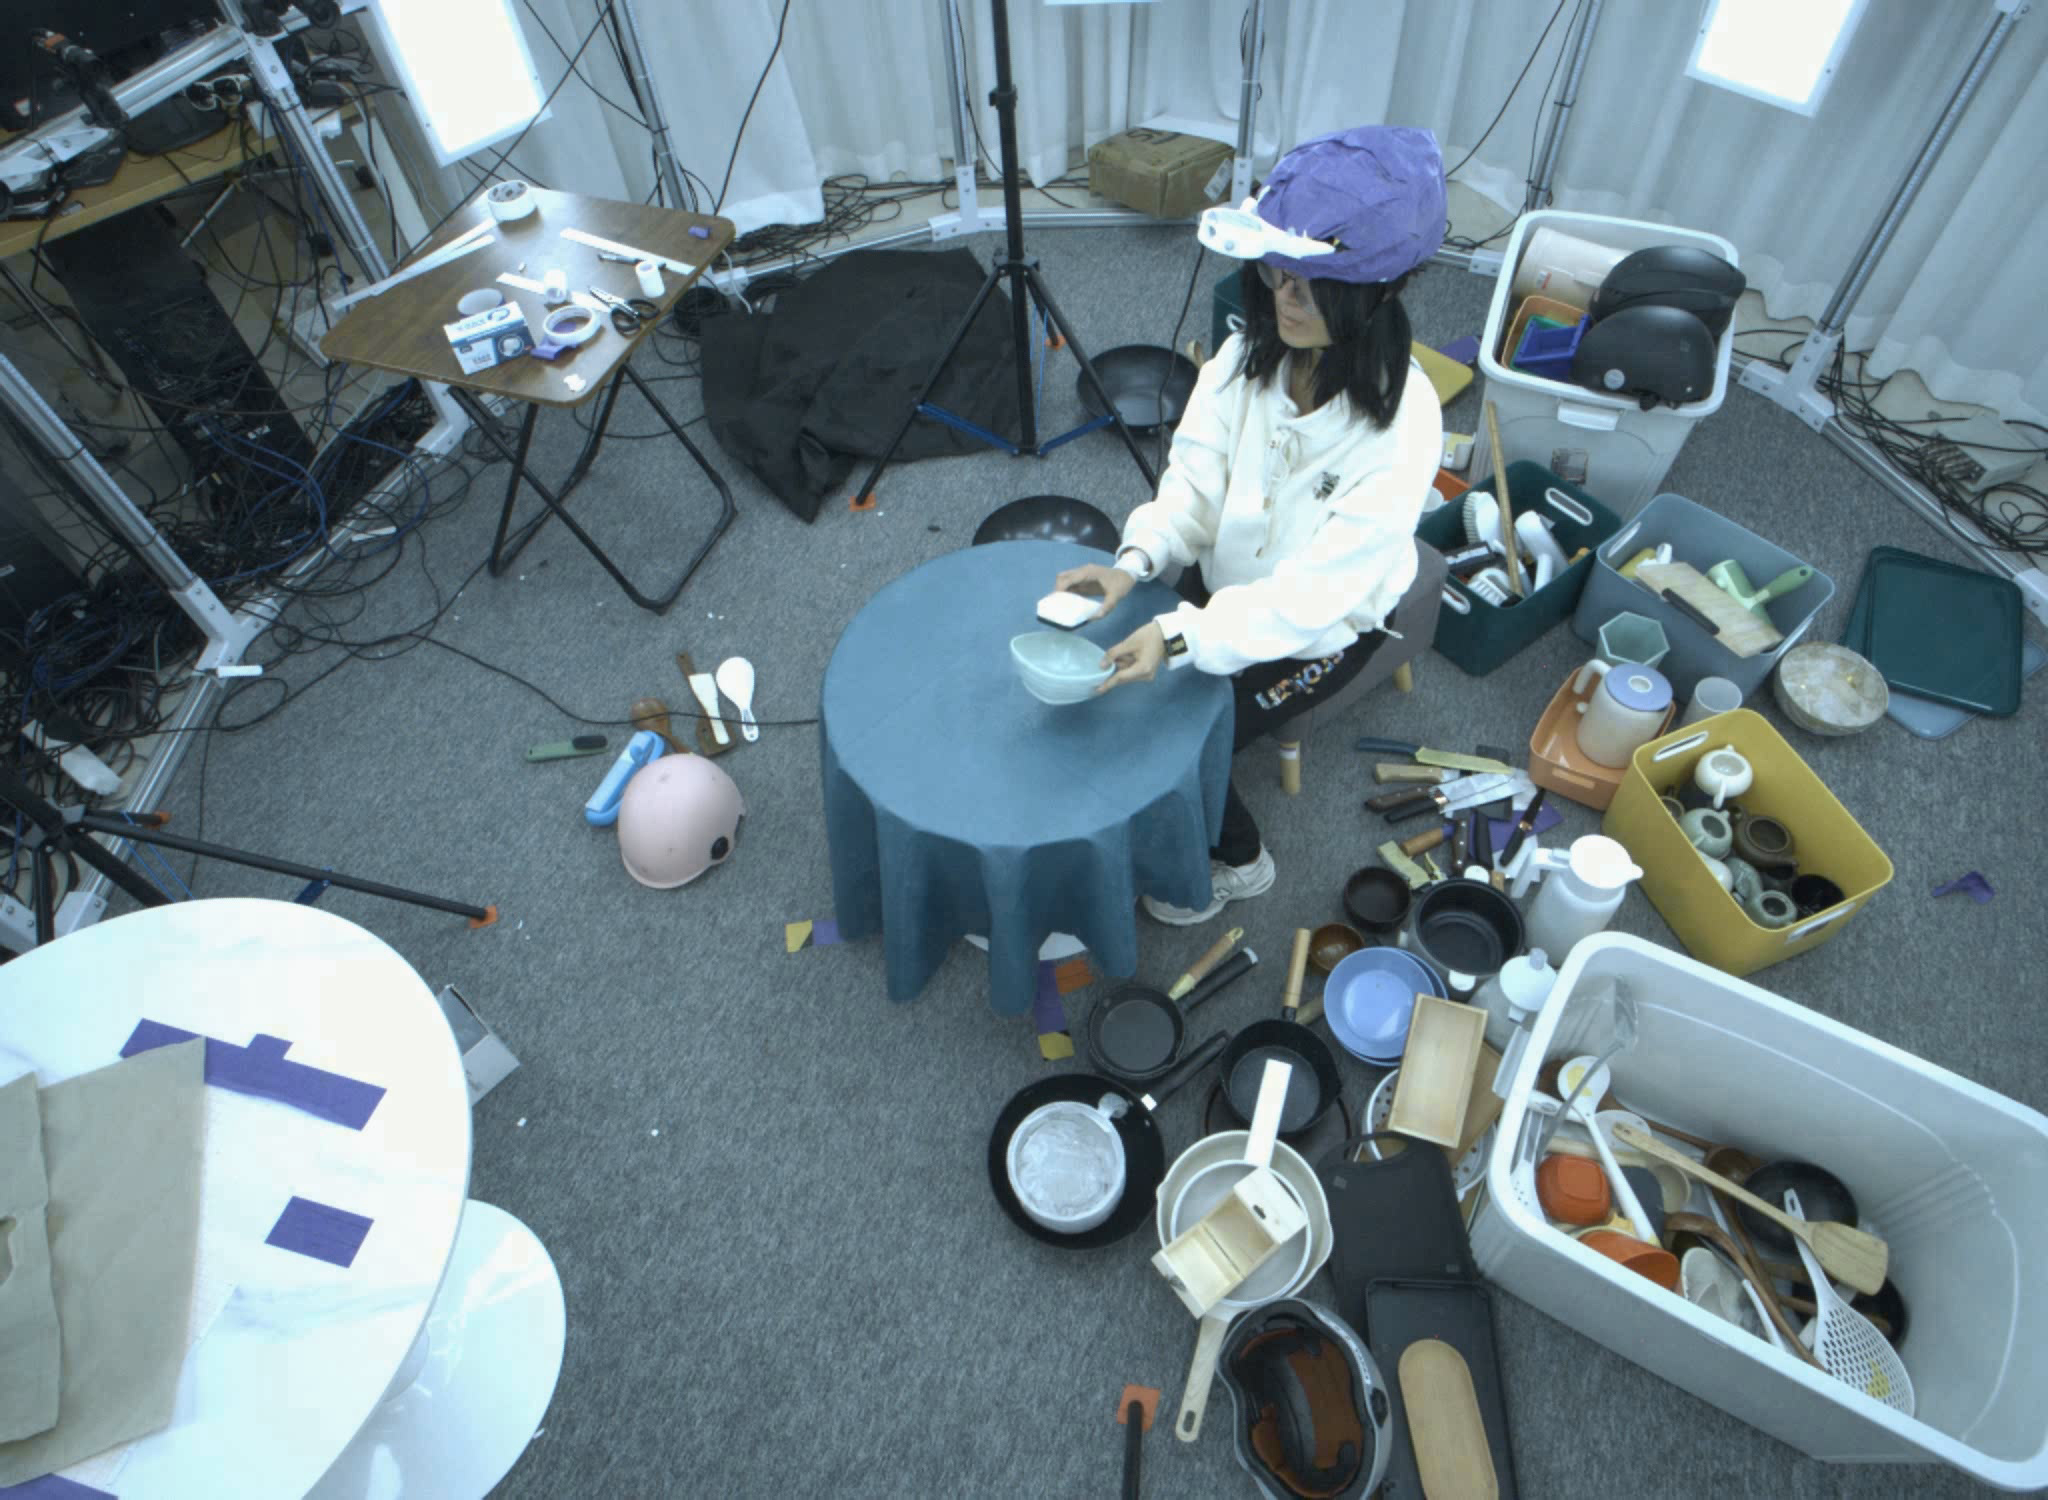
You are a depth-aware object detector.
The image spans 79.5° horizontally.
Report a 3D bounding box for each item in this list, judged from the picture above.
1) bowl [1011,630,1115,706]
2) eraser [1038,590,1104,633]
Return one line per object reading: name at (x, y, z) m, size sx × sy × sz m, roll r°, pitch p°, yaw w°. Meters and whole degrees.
bowl at (0.050, -0.111, 1.747) m, size 0.152 × 0.059 × 0.150 m, roll 10°, pitch 34°, yaw -5°
eraser at (0.069, -0.202, 1.772) m, size 0.062 × 0.034 × 0.132 m, roll 24°, pitch 25°, yaw 16°
